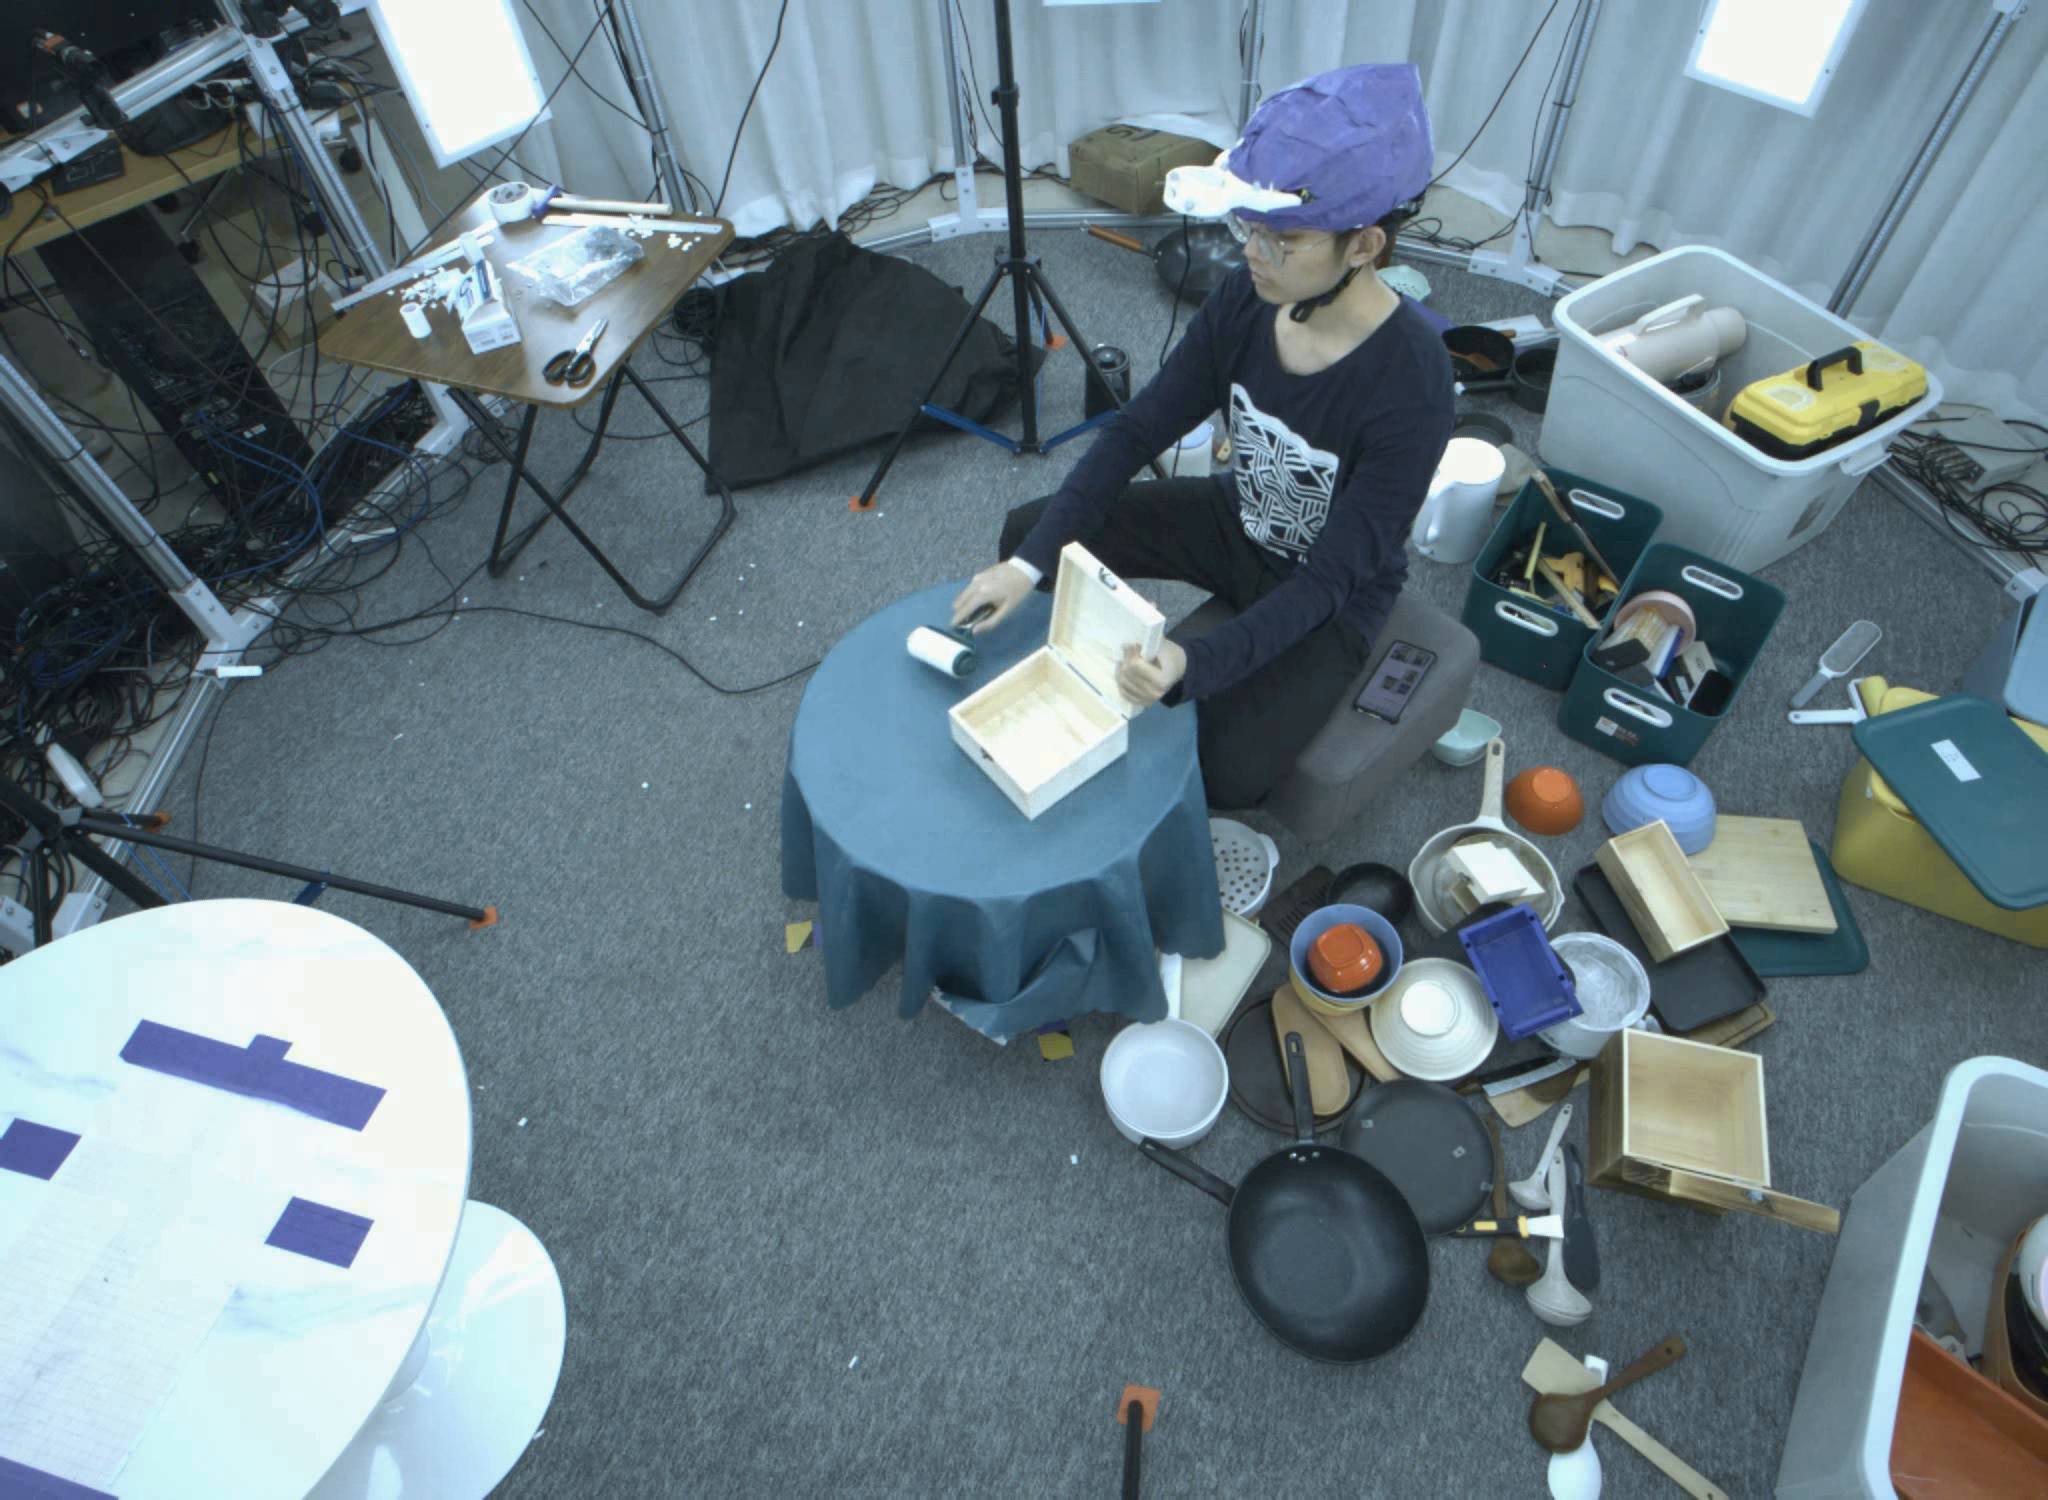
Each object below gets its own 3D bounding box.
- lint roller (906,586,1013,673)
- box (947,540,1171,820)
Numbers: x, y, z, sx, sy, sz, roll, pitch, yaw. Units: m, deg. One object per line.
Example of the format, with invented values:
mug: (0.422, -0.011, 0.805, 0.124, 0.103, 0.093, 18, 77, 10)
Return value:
lint roller: (-0.084, -0.201, 1.865, 0.131, 0.049, 0.181, 27, 67, 36)
box: (0.041, -0.094, 1.693, 0.267, 0.256, 0.178, -37, 63, -19)
